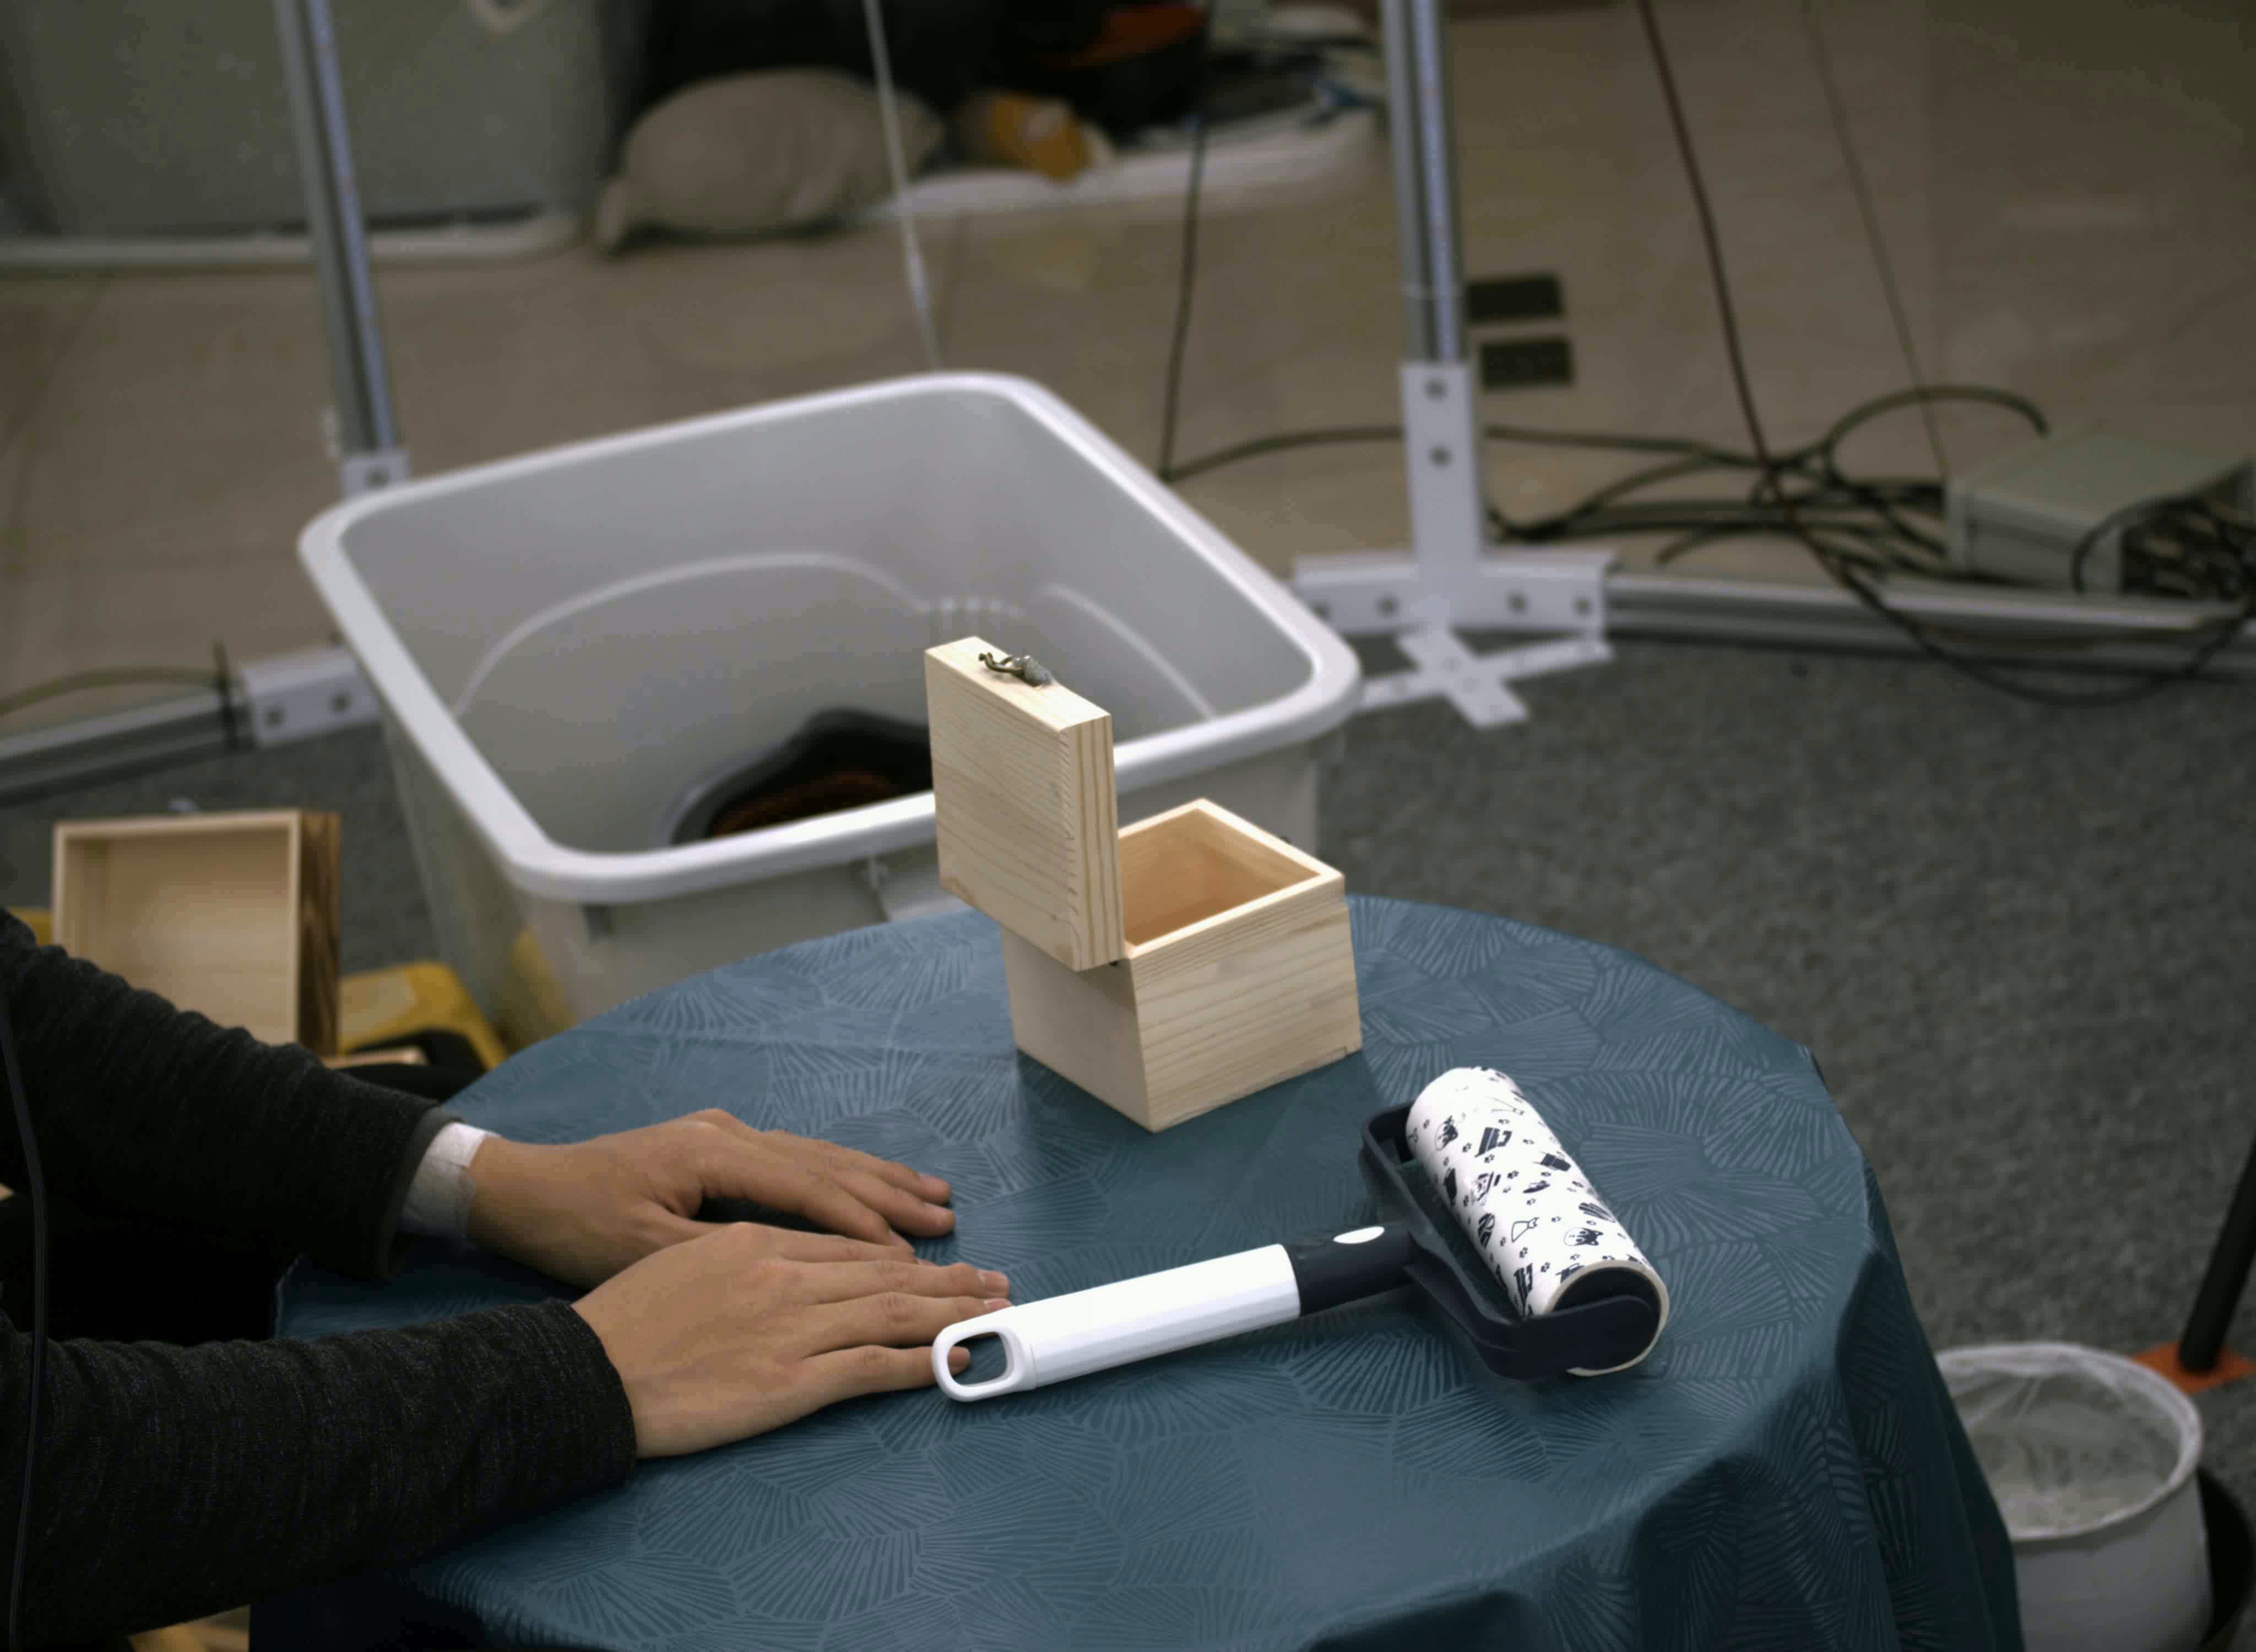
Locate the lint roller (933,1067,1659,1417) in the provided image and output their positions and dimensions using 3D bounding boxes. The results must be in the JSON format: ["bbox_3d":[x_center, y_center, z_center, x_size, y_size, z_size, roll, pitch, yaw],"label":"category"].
[{"bbox_3d":[0.049,0.164,2.032,0.246,0.051,0.174,-13,27,-11],"label":"lint roller"}]

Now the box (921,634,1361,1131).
[{"bbox_3d":[0.007,0.009,2.204,0.133,0.187,0.101,-21,29,-26],"label":"box"}]
